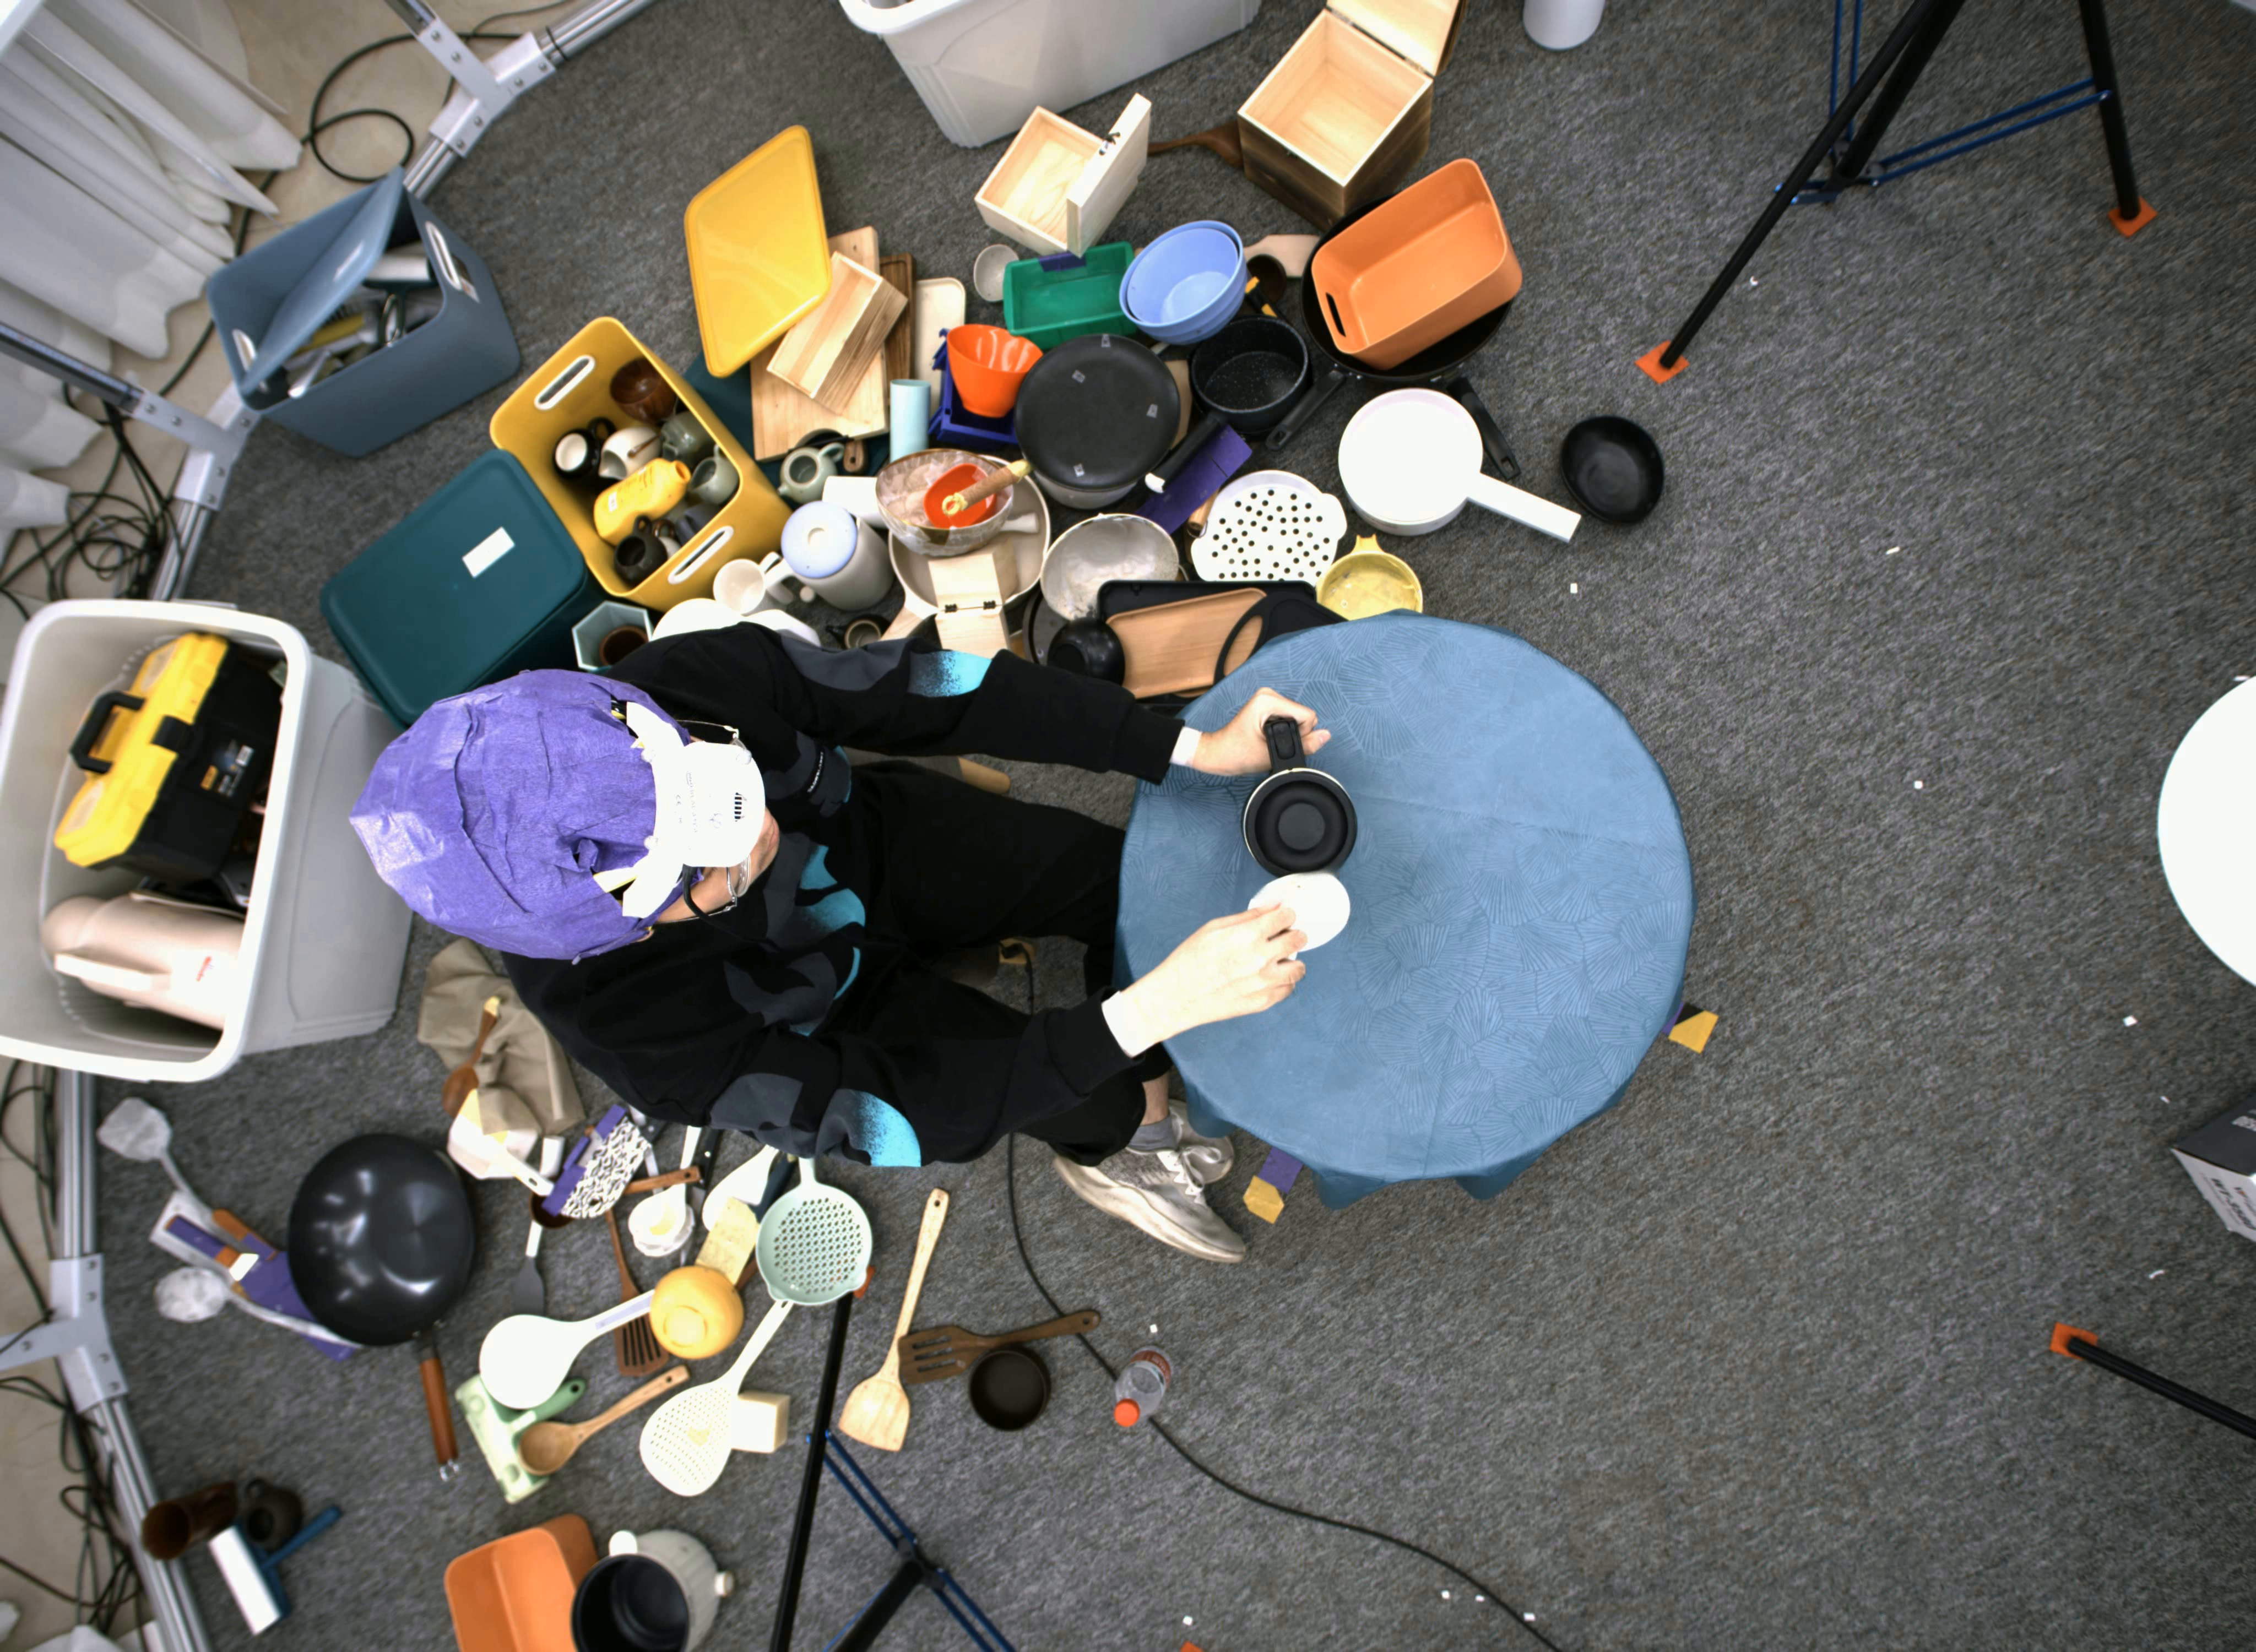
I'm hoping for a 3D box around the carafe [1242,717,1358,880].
[{"bbox_3d":[0.164,-0.024,1.374,0.115,0.172,0.172,-12,93,7],"label":"carafe"}]

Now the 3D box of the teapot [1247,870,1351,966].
[{"bbox_3d":[0.149,0.081,1.225,0.094,0.125,0.057,-14,103,21],"label":"teapot"}]
